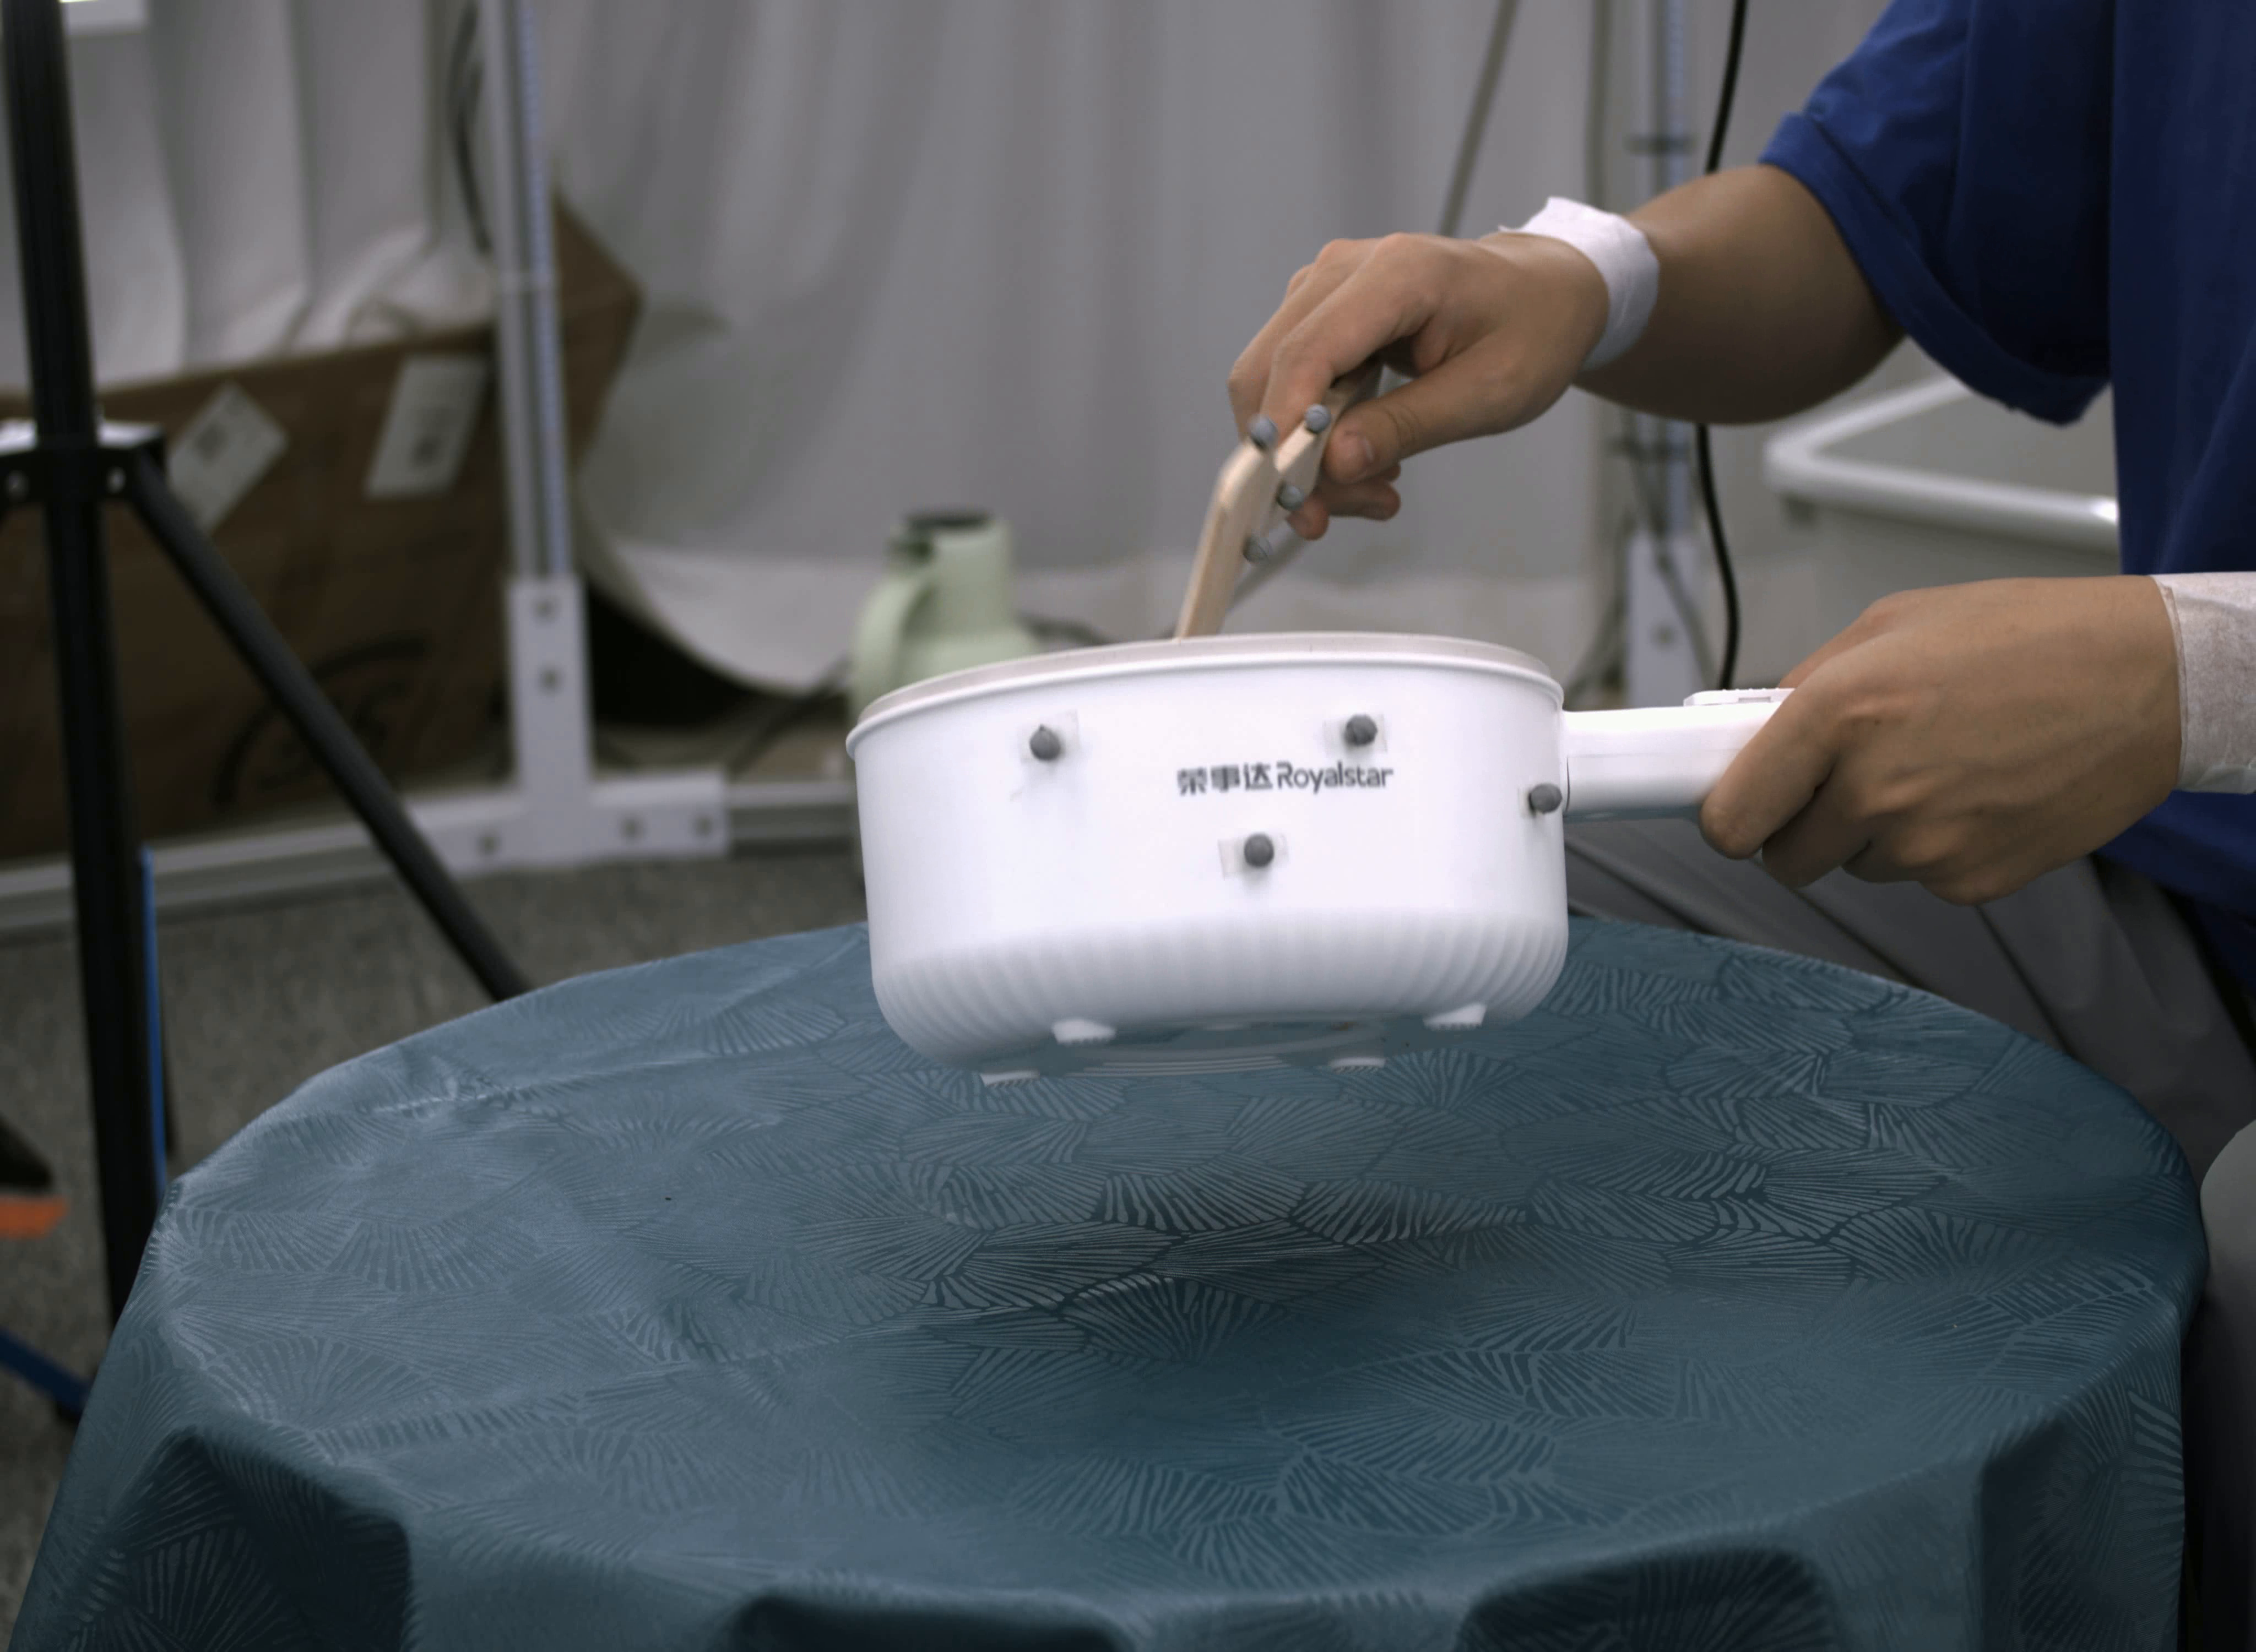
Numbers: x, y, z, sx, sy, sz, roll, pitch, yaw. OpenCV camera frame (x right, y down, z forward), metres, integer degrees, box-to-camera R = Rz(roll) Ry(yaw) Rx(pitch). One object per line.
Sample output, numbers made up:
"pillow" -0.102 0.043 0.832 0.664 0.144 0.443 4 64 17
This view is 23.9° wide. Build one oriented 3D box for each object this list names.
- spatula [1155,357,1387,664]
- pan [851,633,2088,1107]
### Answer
"spatula" 0.047 -0.105 1.623 0.011 0.072 0.291 17 19 9
"pan" 0.100 0.015 1.489 0.350 0.103 0.202 -2 -11 -12
